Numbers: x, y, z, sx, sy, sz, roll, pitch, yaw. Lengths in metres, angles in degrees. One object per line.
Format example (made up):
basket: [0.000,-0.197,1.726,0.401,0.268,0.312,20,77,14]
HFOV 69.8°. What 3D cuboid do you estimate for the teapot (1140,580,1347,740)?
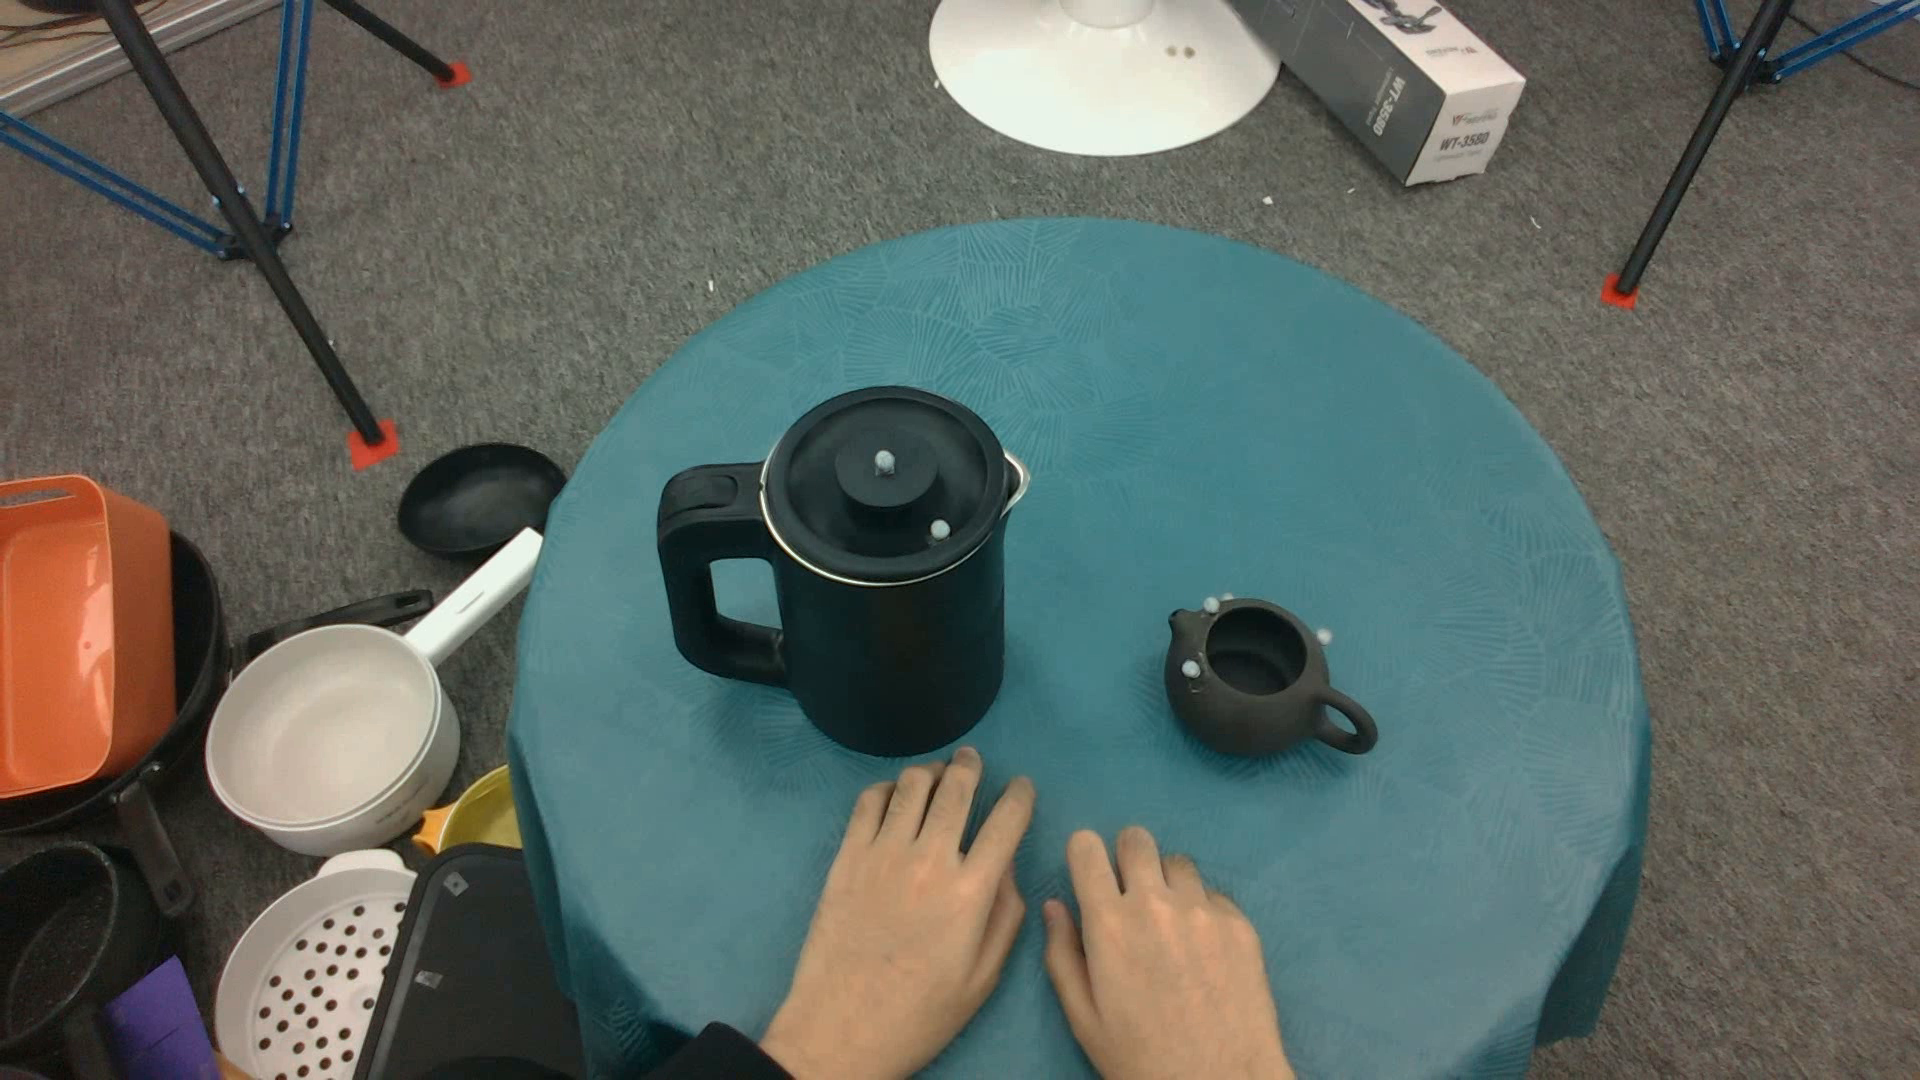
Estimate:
teapot: [0.142,0.065,0.693,0.114,0.053,0.083,31,62,23]

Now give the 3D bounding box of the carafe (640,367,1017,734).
carafe: [-0.064,0.008,0.657,0.172,0.172,0.115,-2,57,-5]
